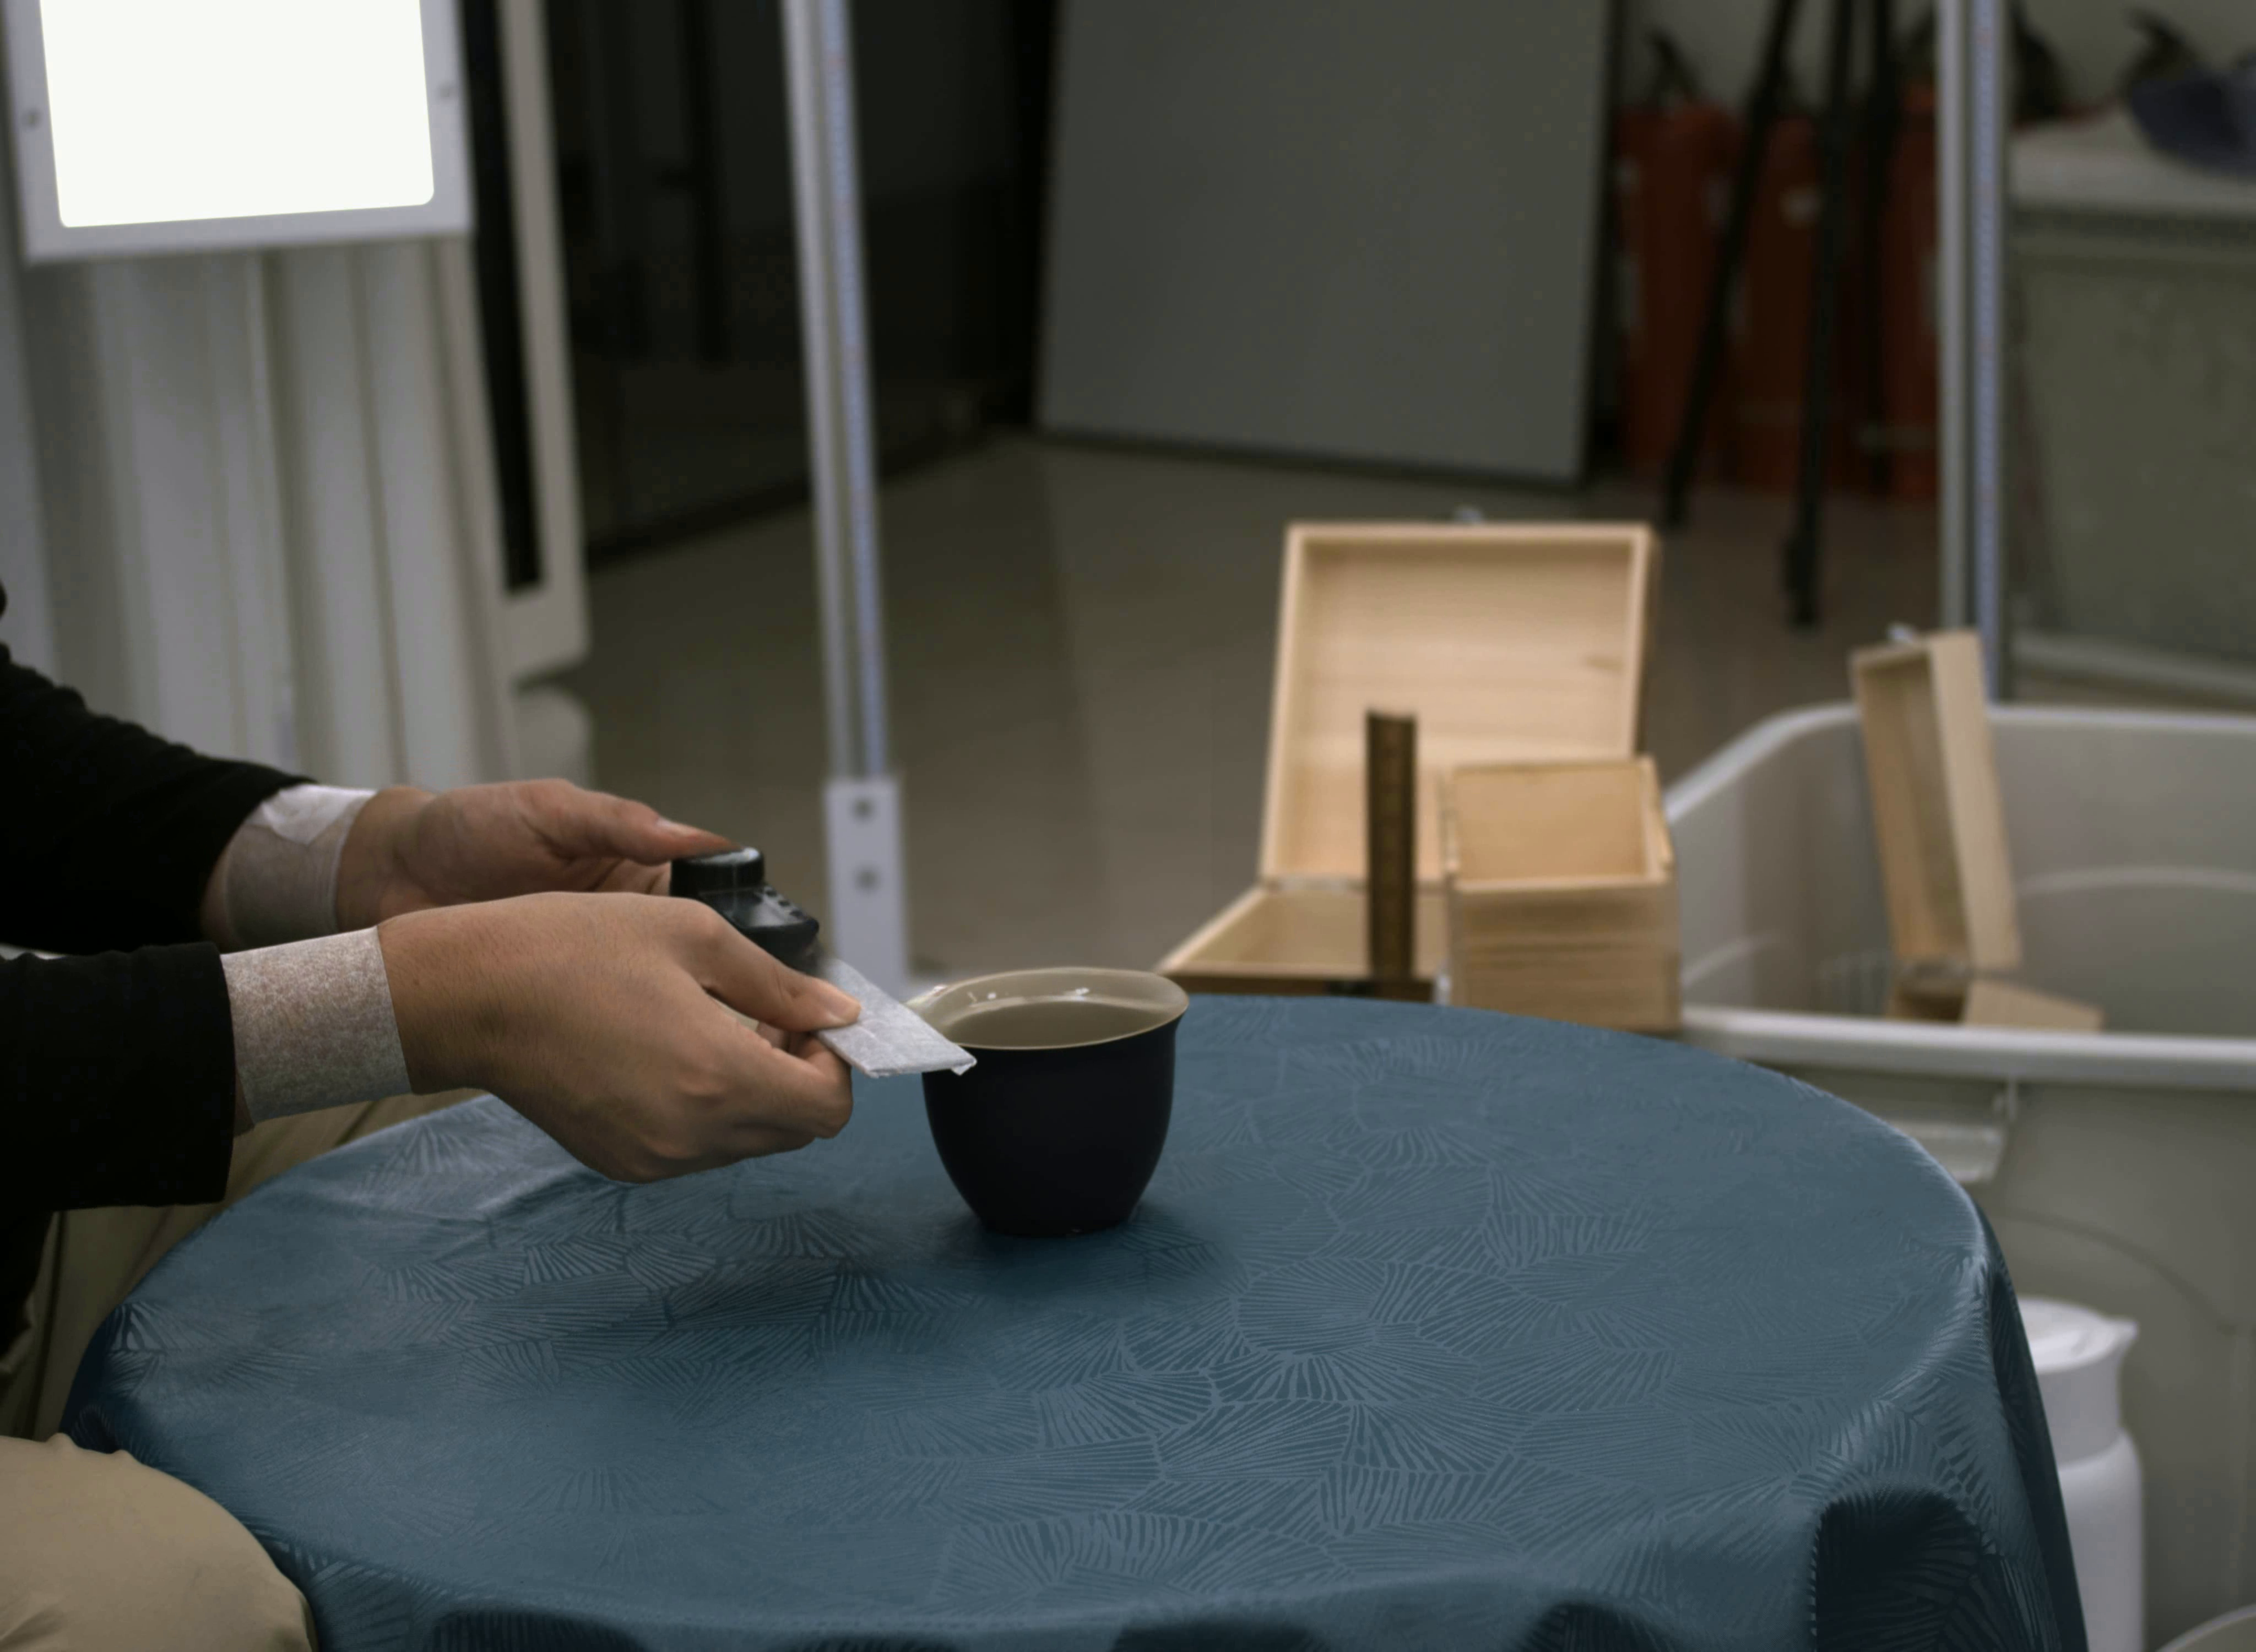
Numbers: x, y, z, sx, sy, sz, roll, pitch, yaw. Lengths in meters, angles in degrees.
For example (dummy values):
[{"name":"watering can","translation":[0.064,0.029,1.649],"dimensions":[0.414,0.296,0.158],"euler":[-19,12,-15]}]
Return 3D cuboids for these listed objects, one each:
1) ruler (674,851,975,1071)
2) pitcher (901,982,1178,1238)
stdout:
[{"name":"ruler","translation":[-0.104,0.041,1.756],"dimensions":[0.037,0.024,0.220],"euler":[-13,16,-19]},{"name":"pitcher","translation":[-0.029,0.091,1.746],"dimensions":[0.096,0.072,0.082],"euler":[5,17,29]}]
